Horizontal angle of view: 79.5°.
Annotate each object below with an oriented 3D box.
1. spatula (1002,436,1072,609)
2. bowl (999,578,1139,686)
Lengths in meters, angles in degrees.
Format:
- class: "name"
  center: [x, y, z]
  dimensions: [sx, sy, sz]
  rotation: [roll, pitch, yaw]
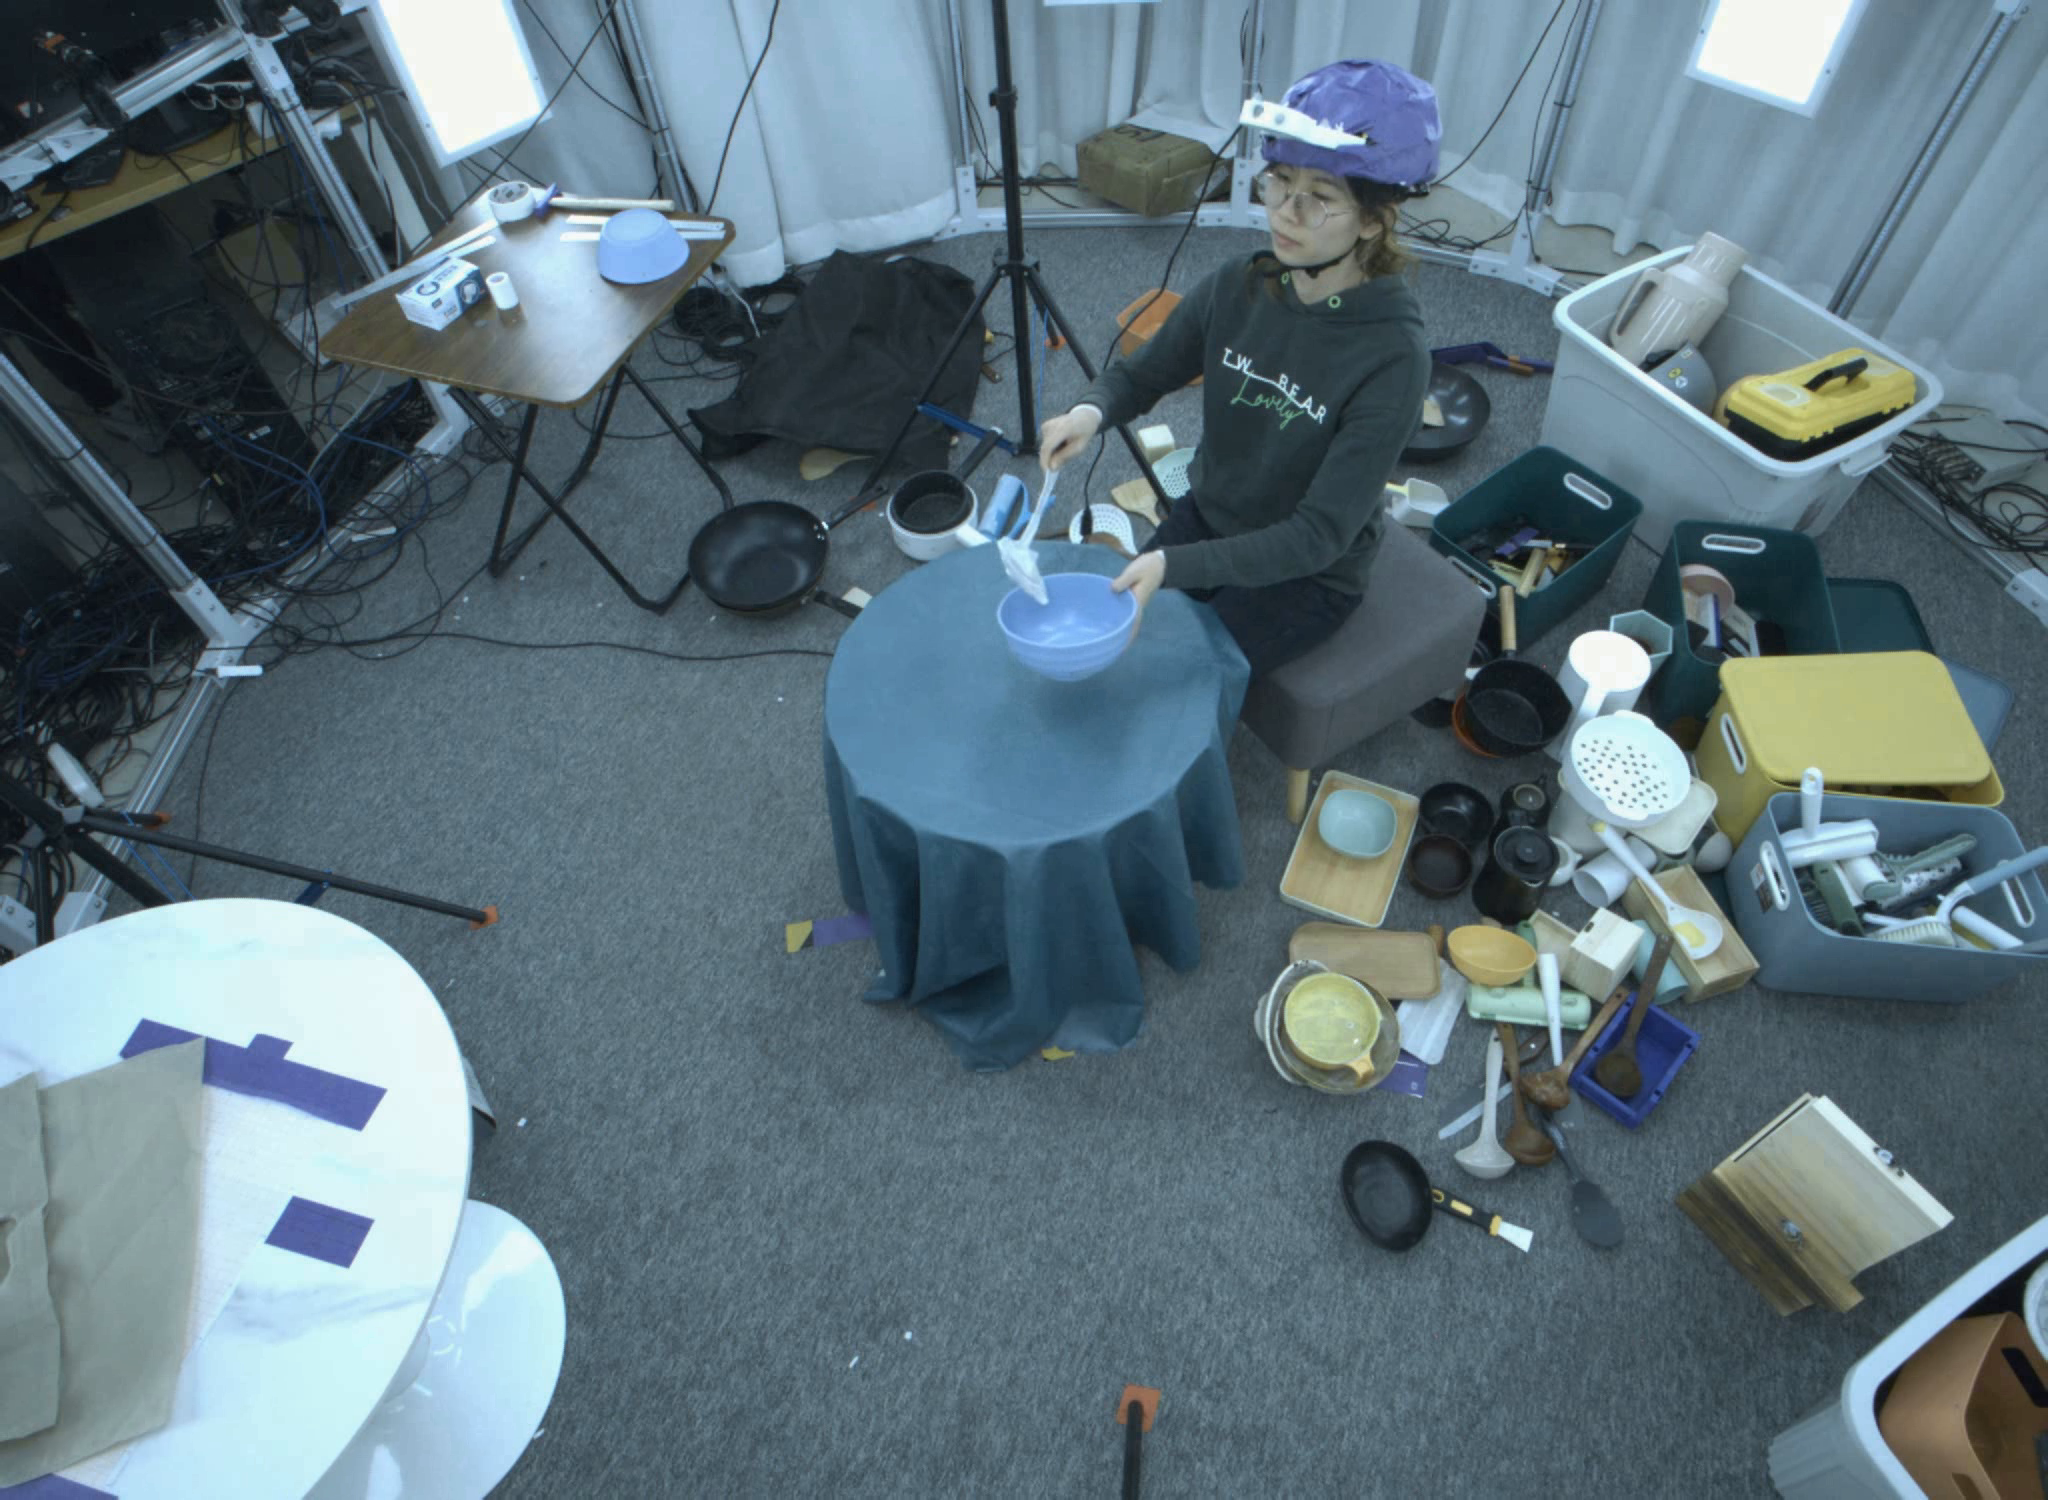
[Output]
- class: "spatula"
  center: [0.032, -0.347, 1.754]
  dimensions: [0.044, 0.101, 0.363]
  rotation: [-17, 44, 41]
- class: "bowl"
  center: [0.067, -0.156, 1.749]
  dimensions: [0.196, 0.096, 0.194]
  rotation: [-4, 38, 4]
